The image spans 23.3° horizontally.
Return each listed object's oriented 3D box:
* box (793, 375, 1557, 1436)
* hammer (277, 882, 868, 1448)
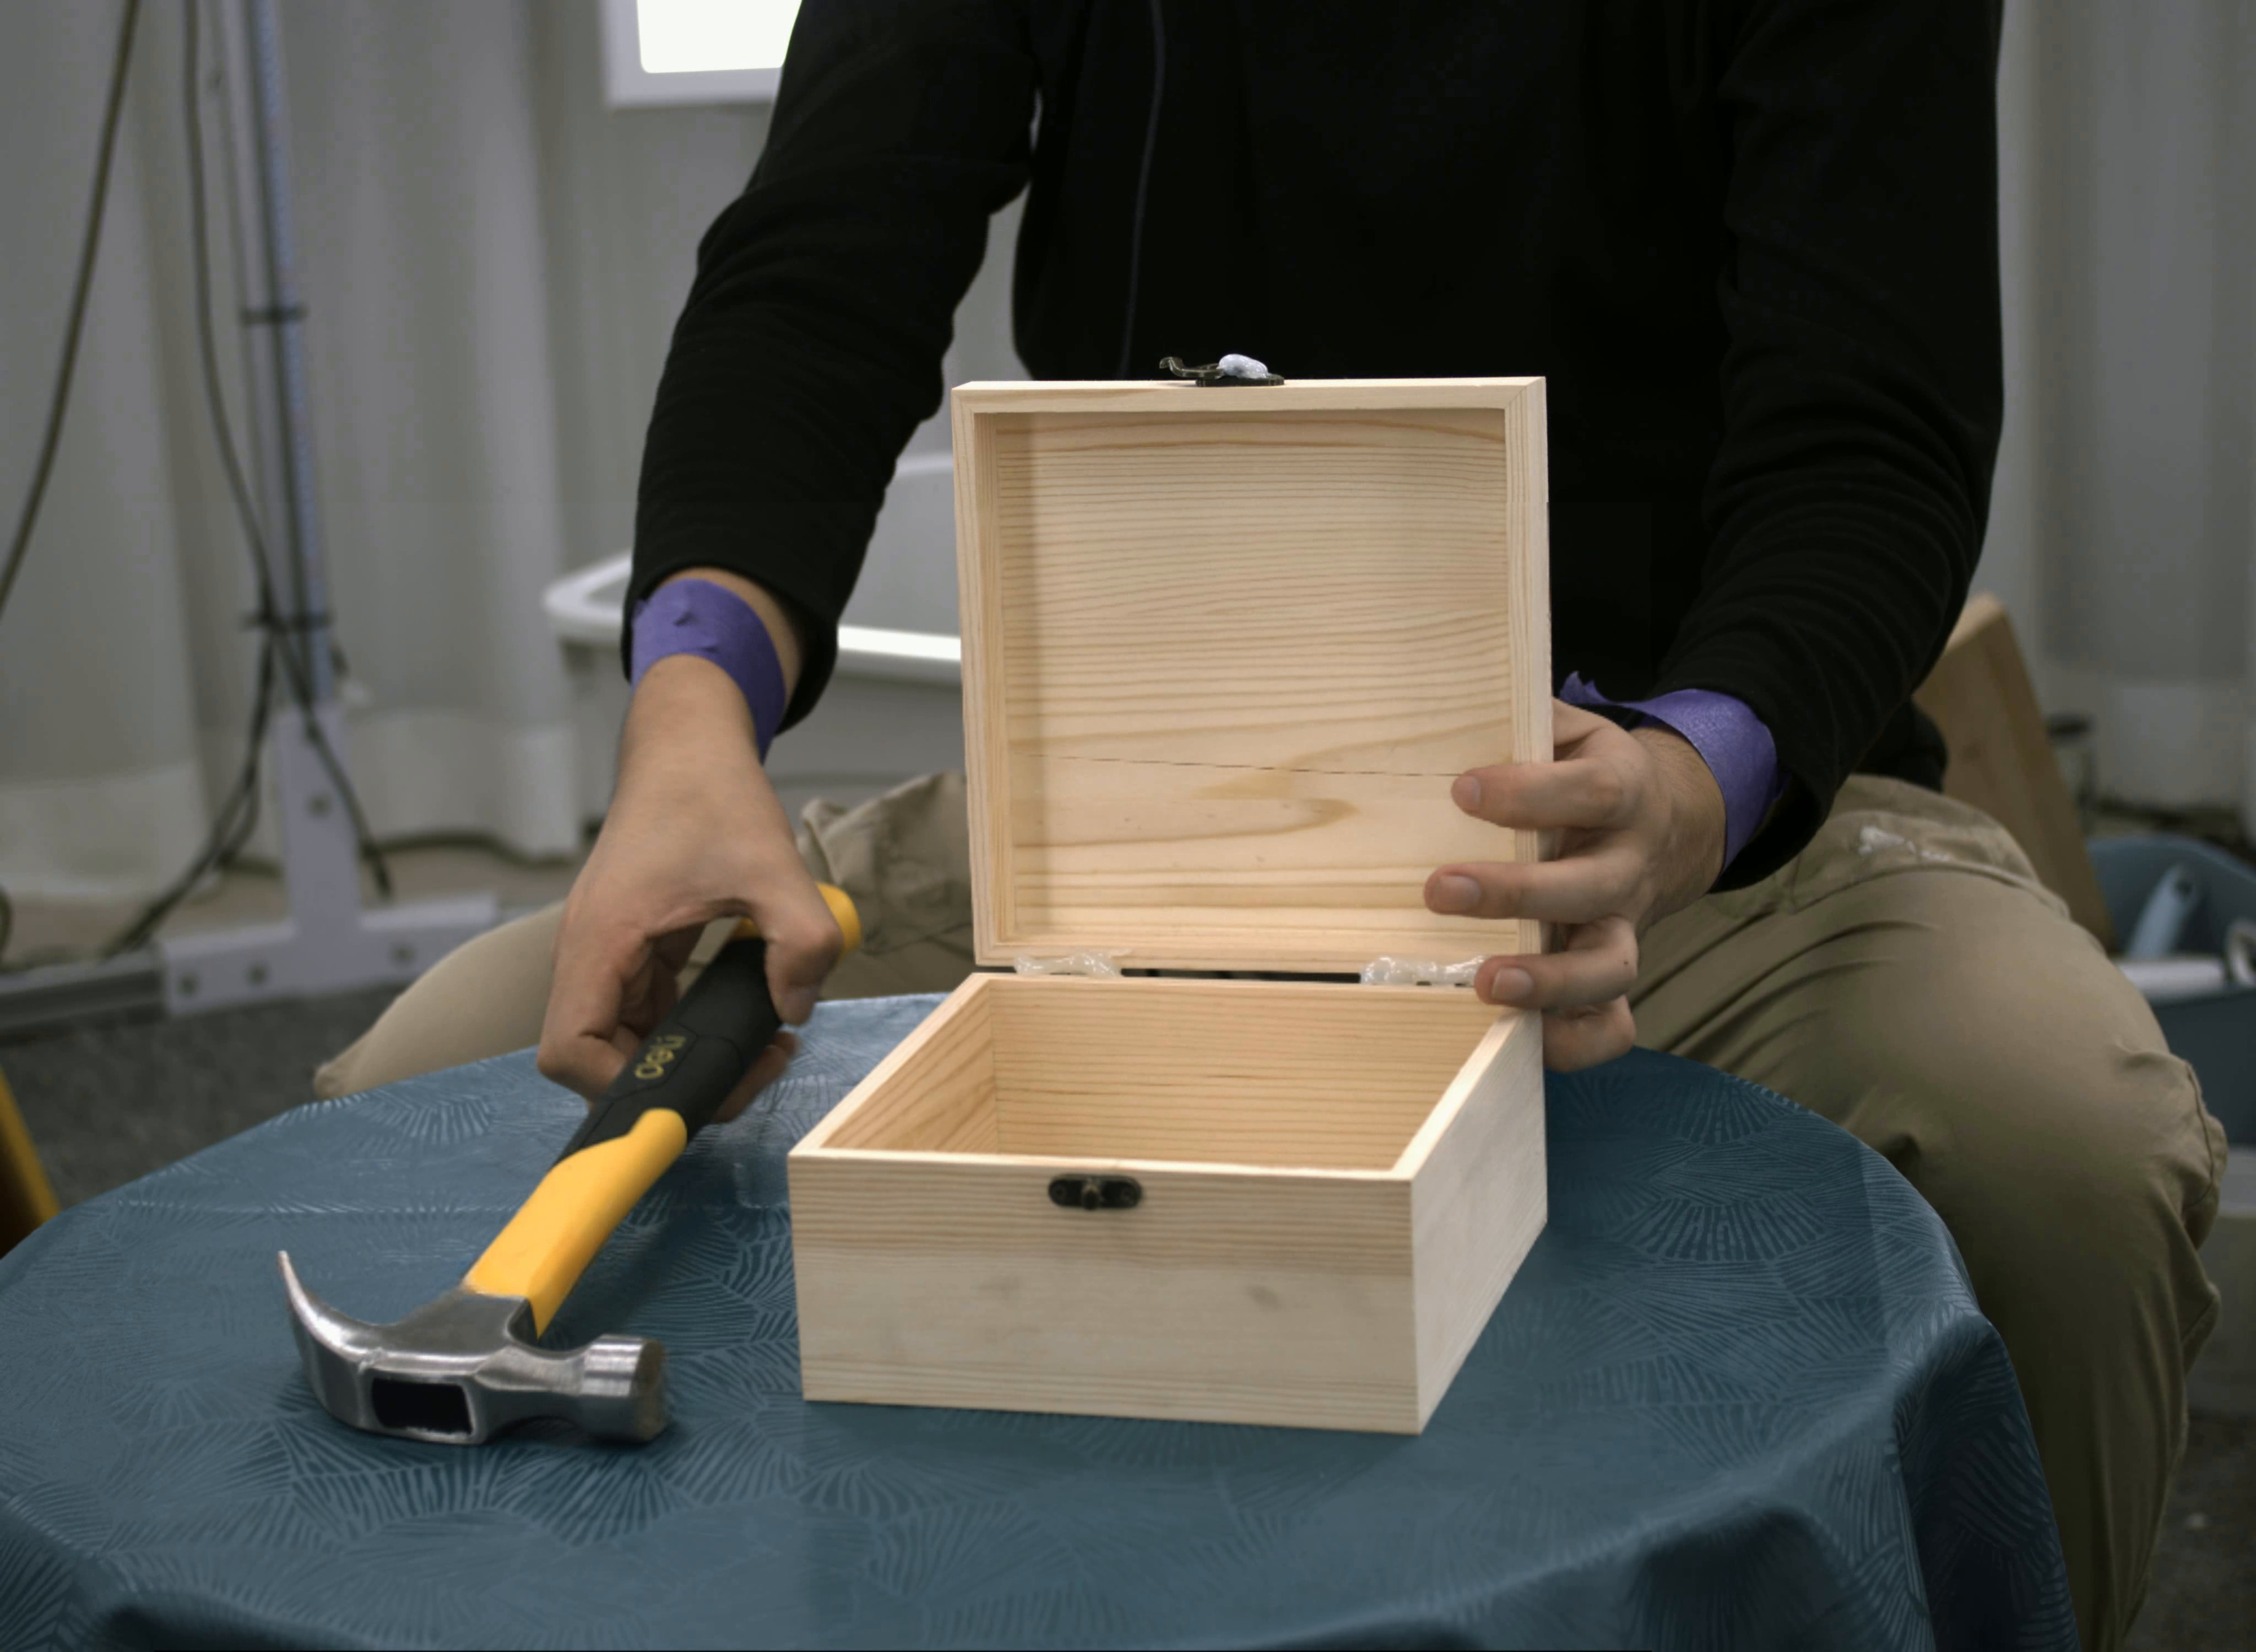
[{"bbox_3d":[0.020,0.014,1.609,0.181,0.252,0.266,-1,14,15],"label":"box"},{"bbox_3d":[-0.151,0.095,1.675,0.131,0.032,0.341,1,24,18],"label":"hammer"}]
